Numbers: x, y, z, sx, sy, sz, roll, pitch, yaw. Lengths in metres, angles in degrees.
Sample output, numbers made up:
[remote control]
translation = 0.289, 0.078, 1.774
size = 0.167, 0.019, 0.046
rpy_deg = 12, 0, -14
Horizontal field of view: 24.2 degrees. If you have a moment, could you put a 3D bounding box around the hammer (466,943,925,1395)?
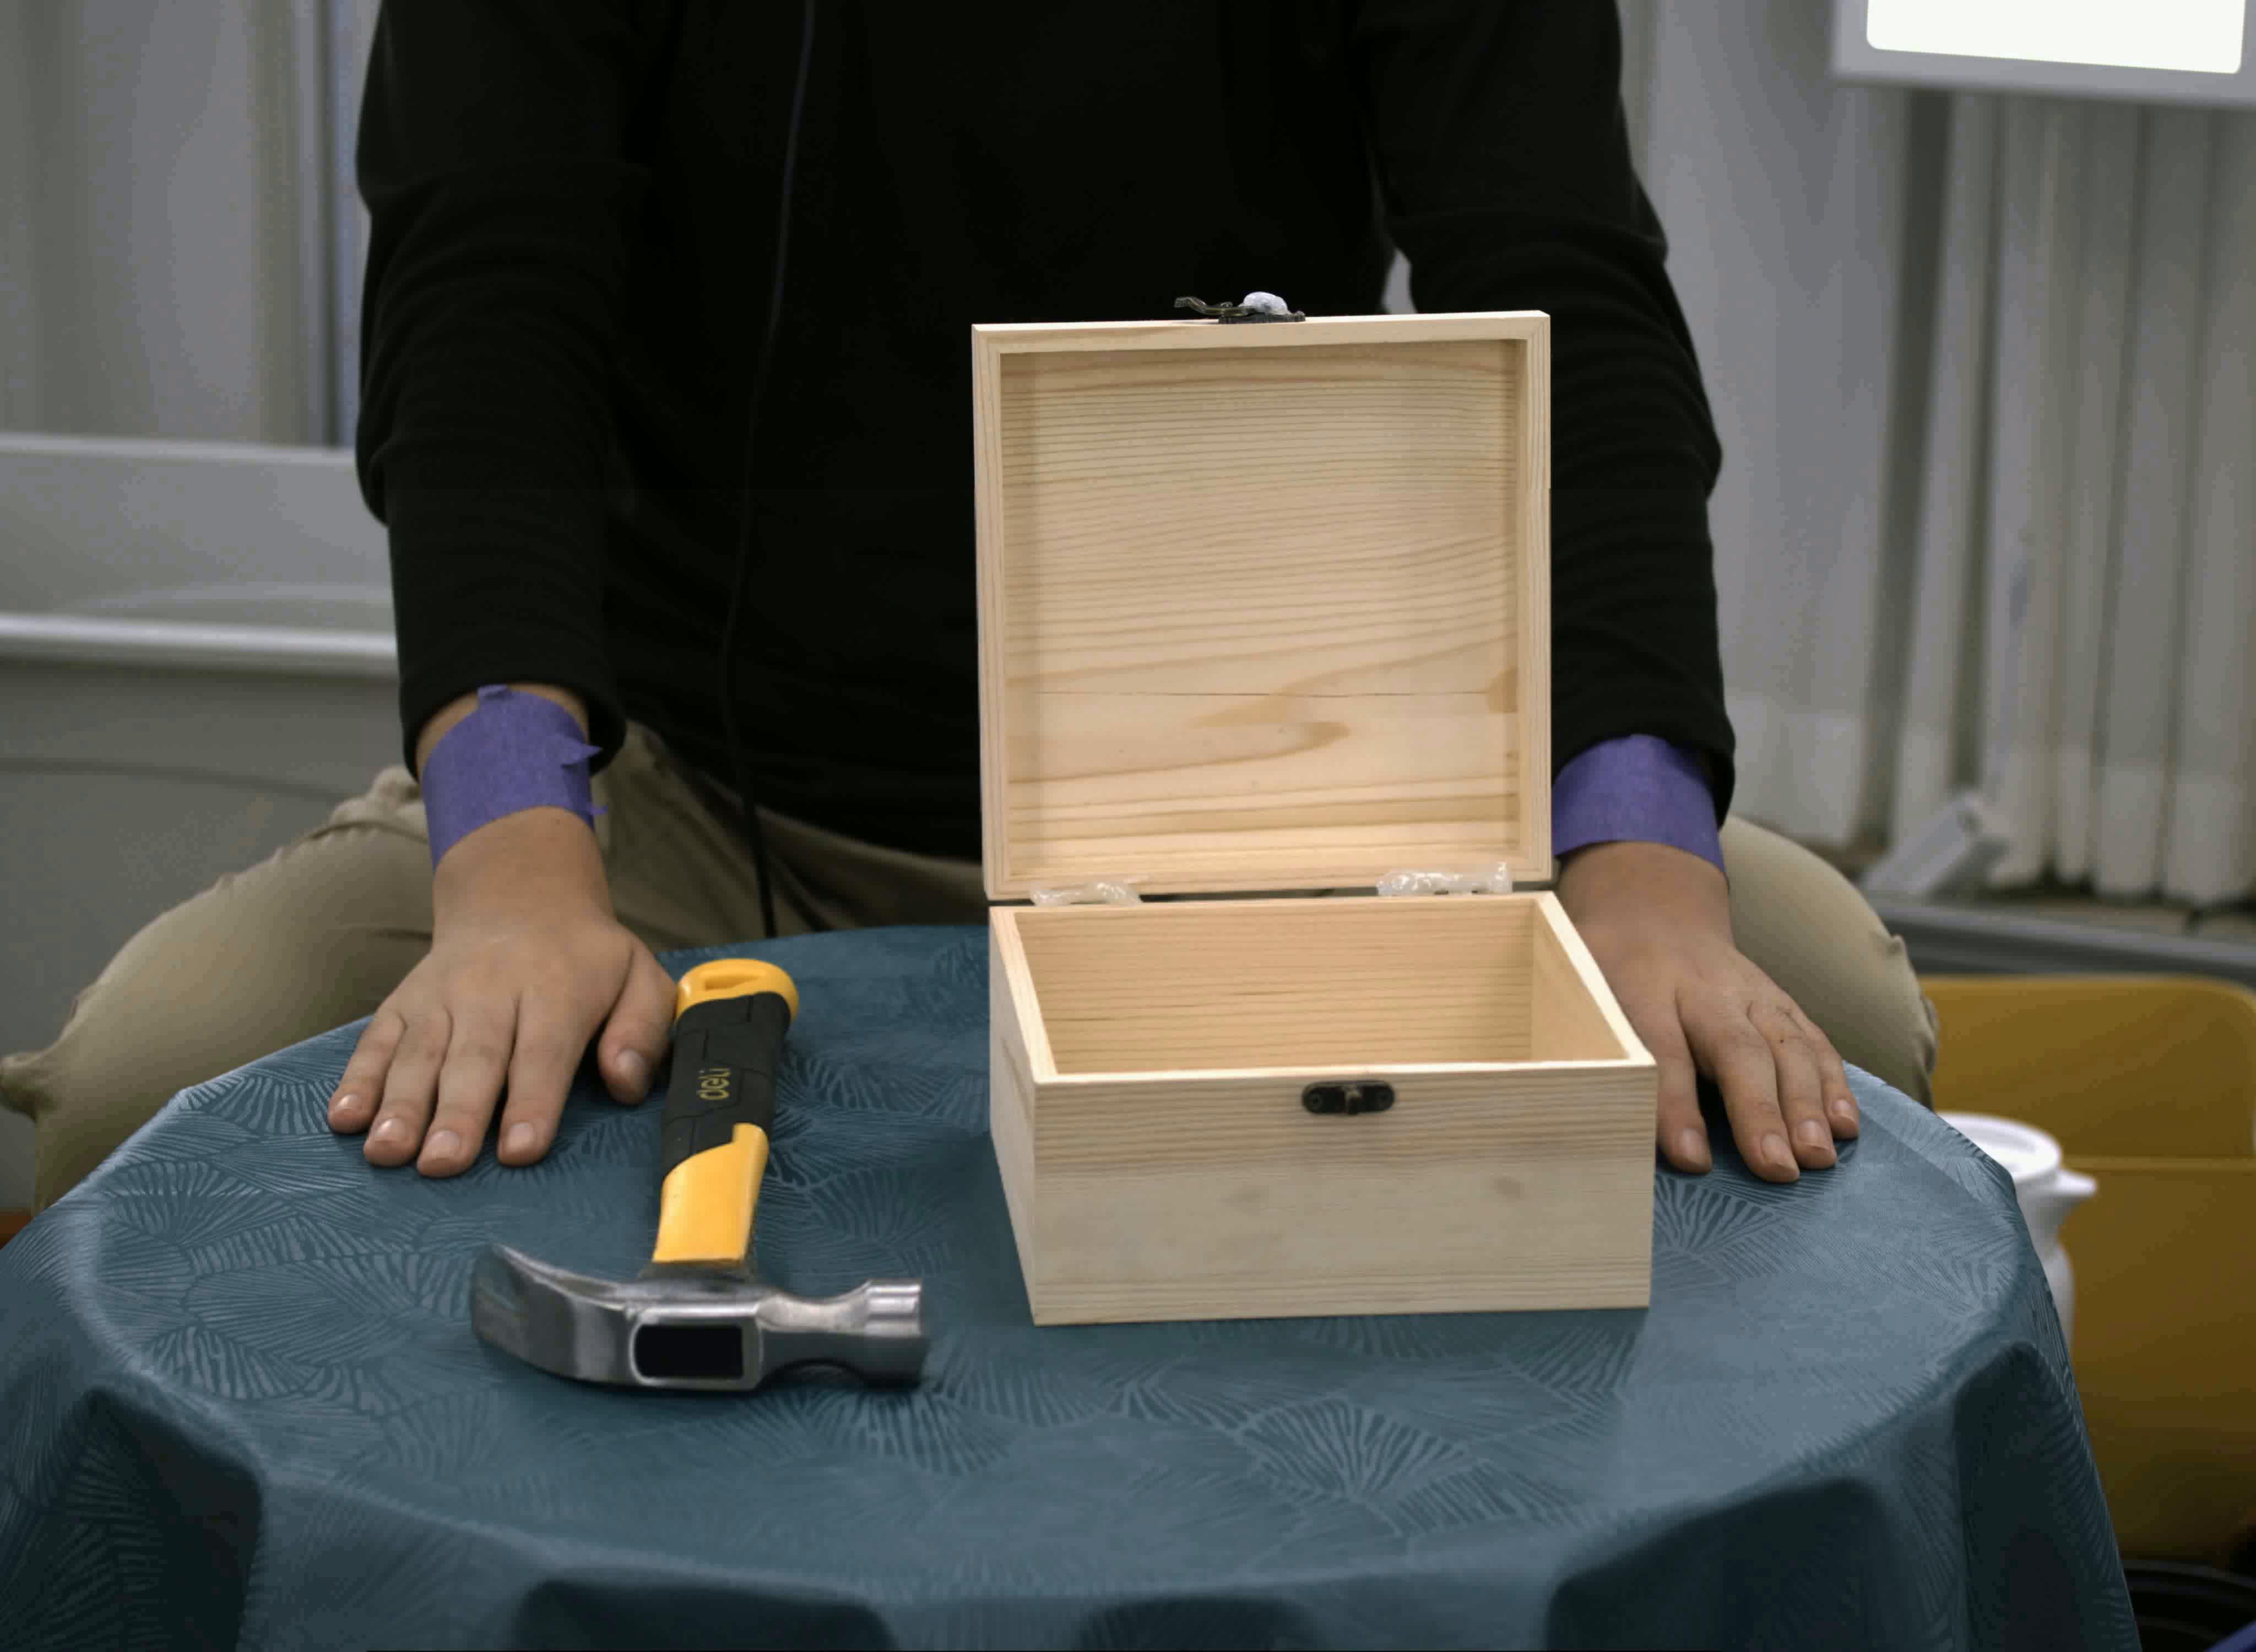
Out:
[hammer]
translation = -0.125, 0.097, 1.607
size = 0.131, 0.032, 0.336
rpy_deg = 0, 16, -2

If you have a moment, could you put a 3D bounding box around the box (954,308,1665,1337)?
[box]
translation = 0.050, -0.011, 1.600
size = 0.181, 0.255, 0.263
rpy_deg = -3, 16, -6
